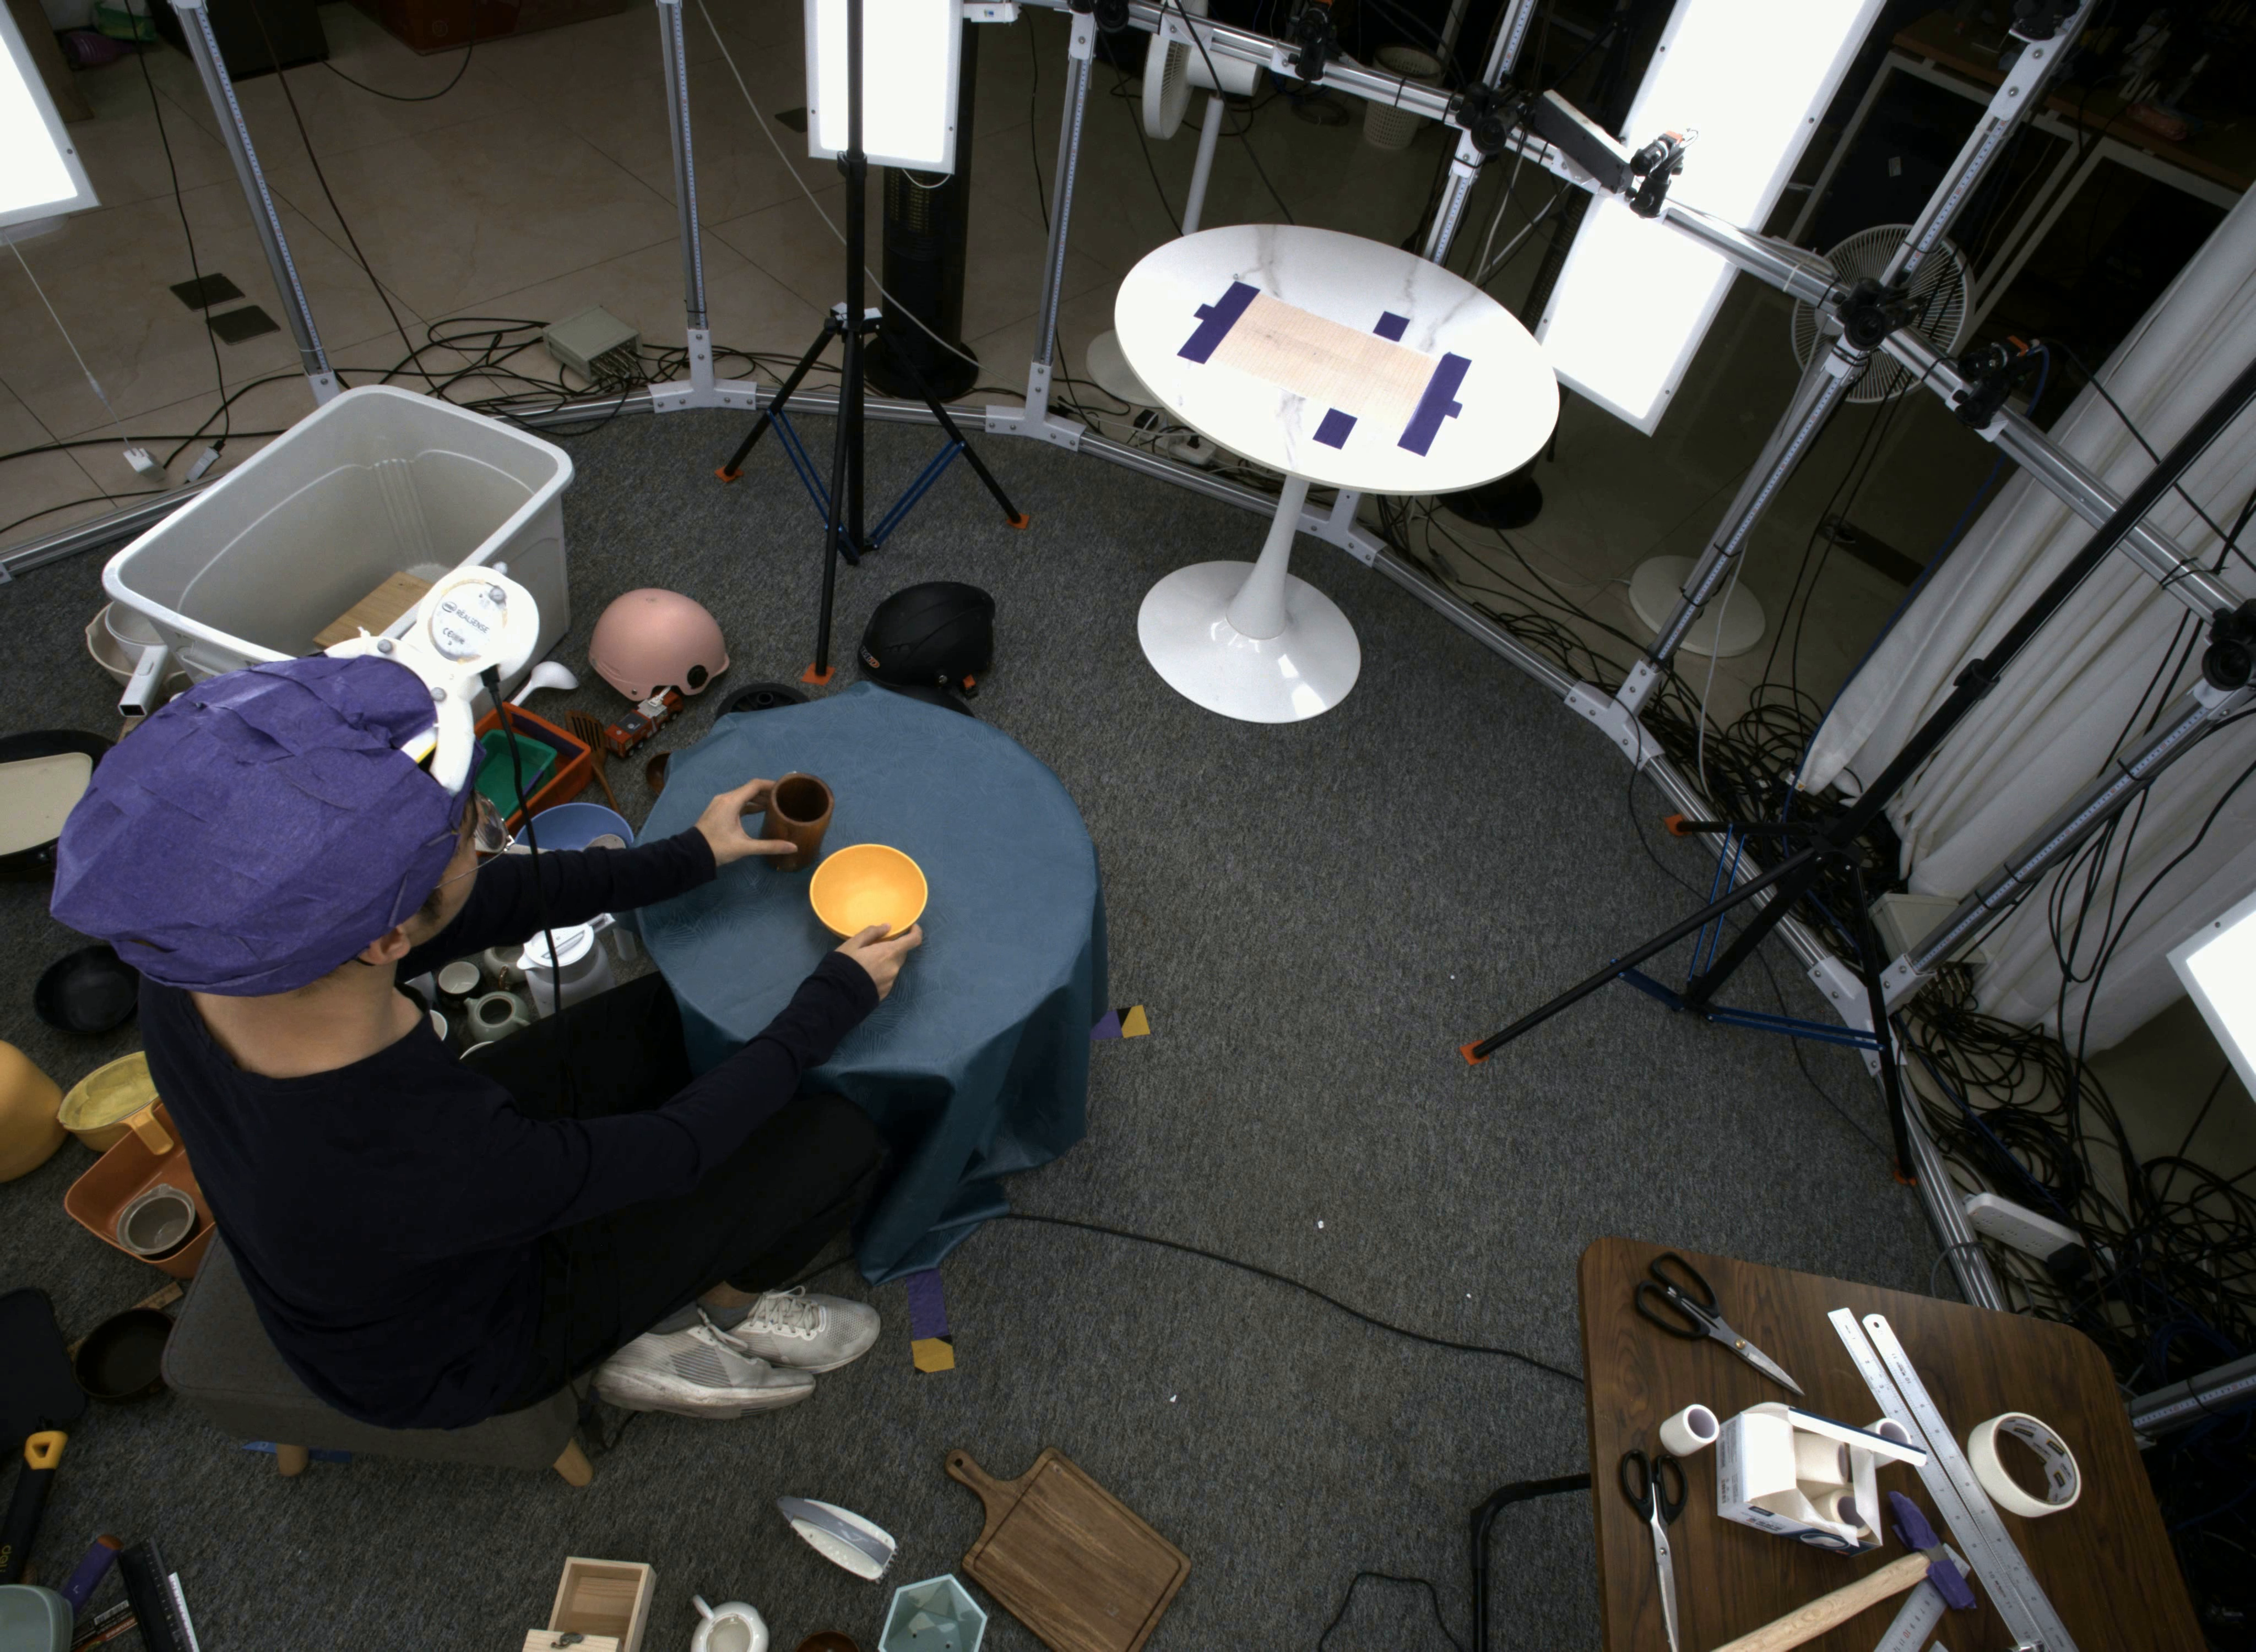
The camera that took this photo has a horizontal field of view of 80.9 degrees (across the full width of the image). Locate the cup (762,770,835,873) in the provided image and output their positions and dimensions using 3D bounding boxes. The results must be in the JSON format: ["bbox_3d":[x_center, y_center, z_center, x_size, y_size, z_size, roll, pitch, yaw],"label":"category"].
[{"bbox_3d":[-0.419,-0.005,1.643,0.088,0.119,0.086,11,55,-15],"label":"cup"}]

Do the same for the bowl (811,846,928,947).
[{"bbox_3d":[-0.325,0.098,1.640,0.145,0.061,0.143,6,53,-7],"label":"bowl"}]
